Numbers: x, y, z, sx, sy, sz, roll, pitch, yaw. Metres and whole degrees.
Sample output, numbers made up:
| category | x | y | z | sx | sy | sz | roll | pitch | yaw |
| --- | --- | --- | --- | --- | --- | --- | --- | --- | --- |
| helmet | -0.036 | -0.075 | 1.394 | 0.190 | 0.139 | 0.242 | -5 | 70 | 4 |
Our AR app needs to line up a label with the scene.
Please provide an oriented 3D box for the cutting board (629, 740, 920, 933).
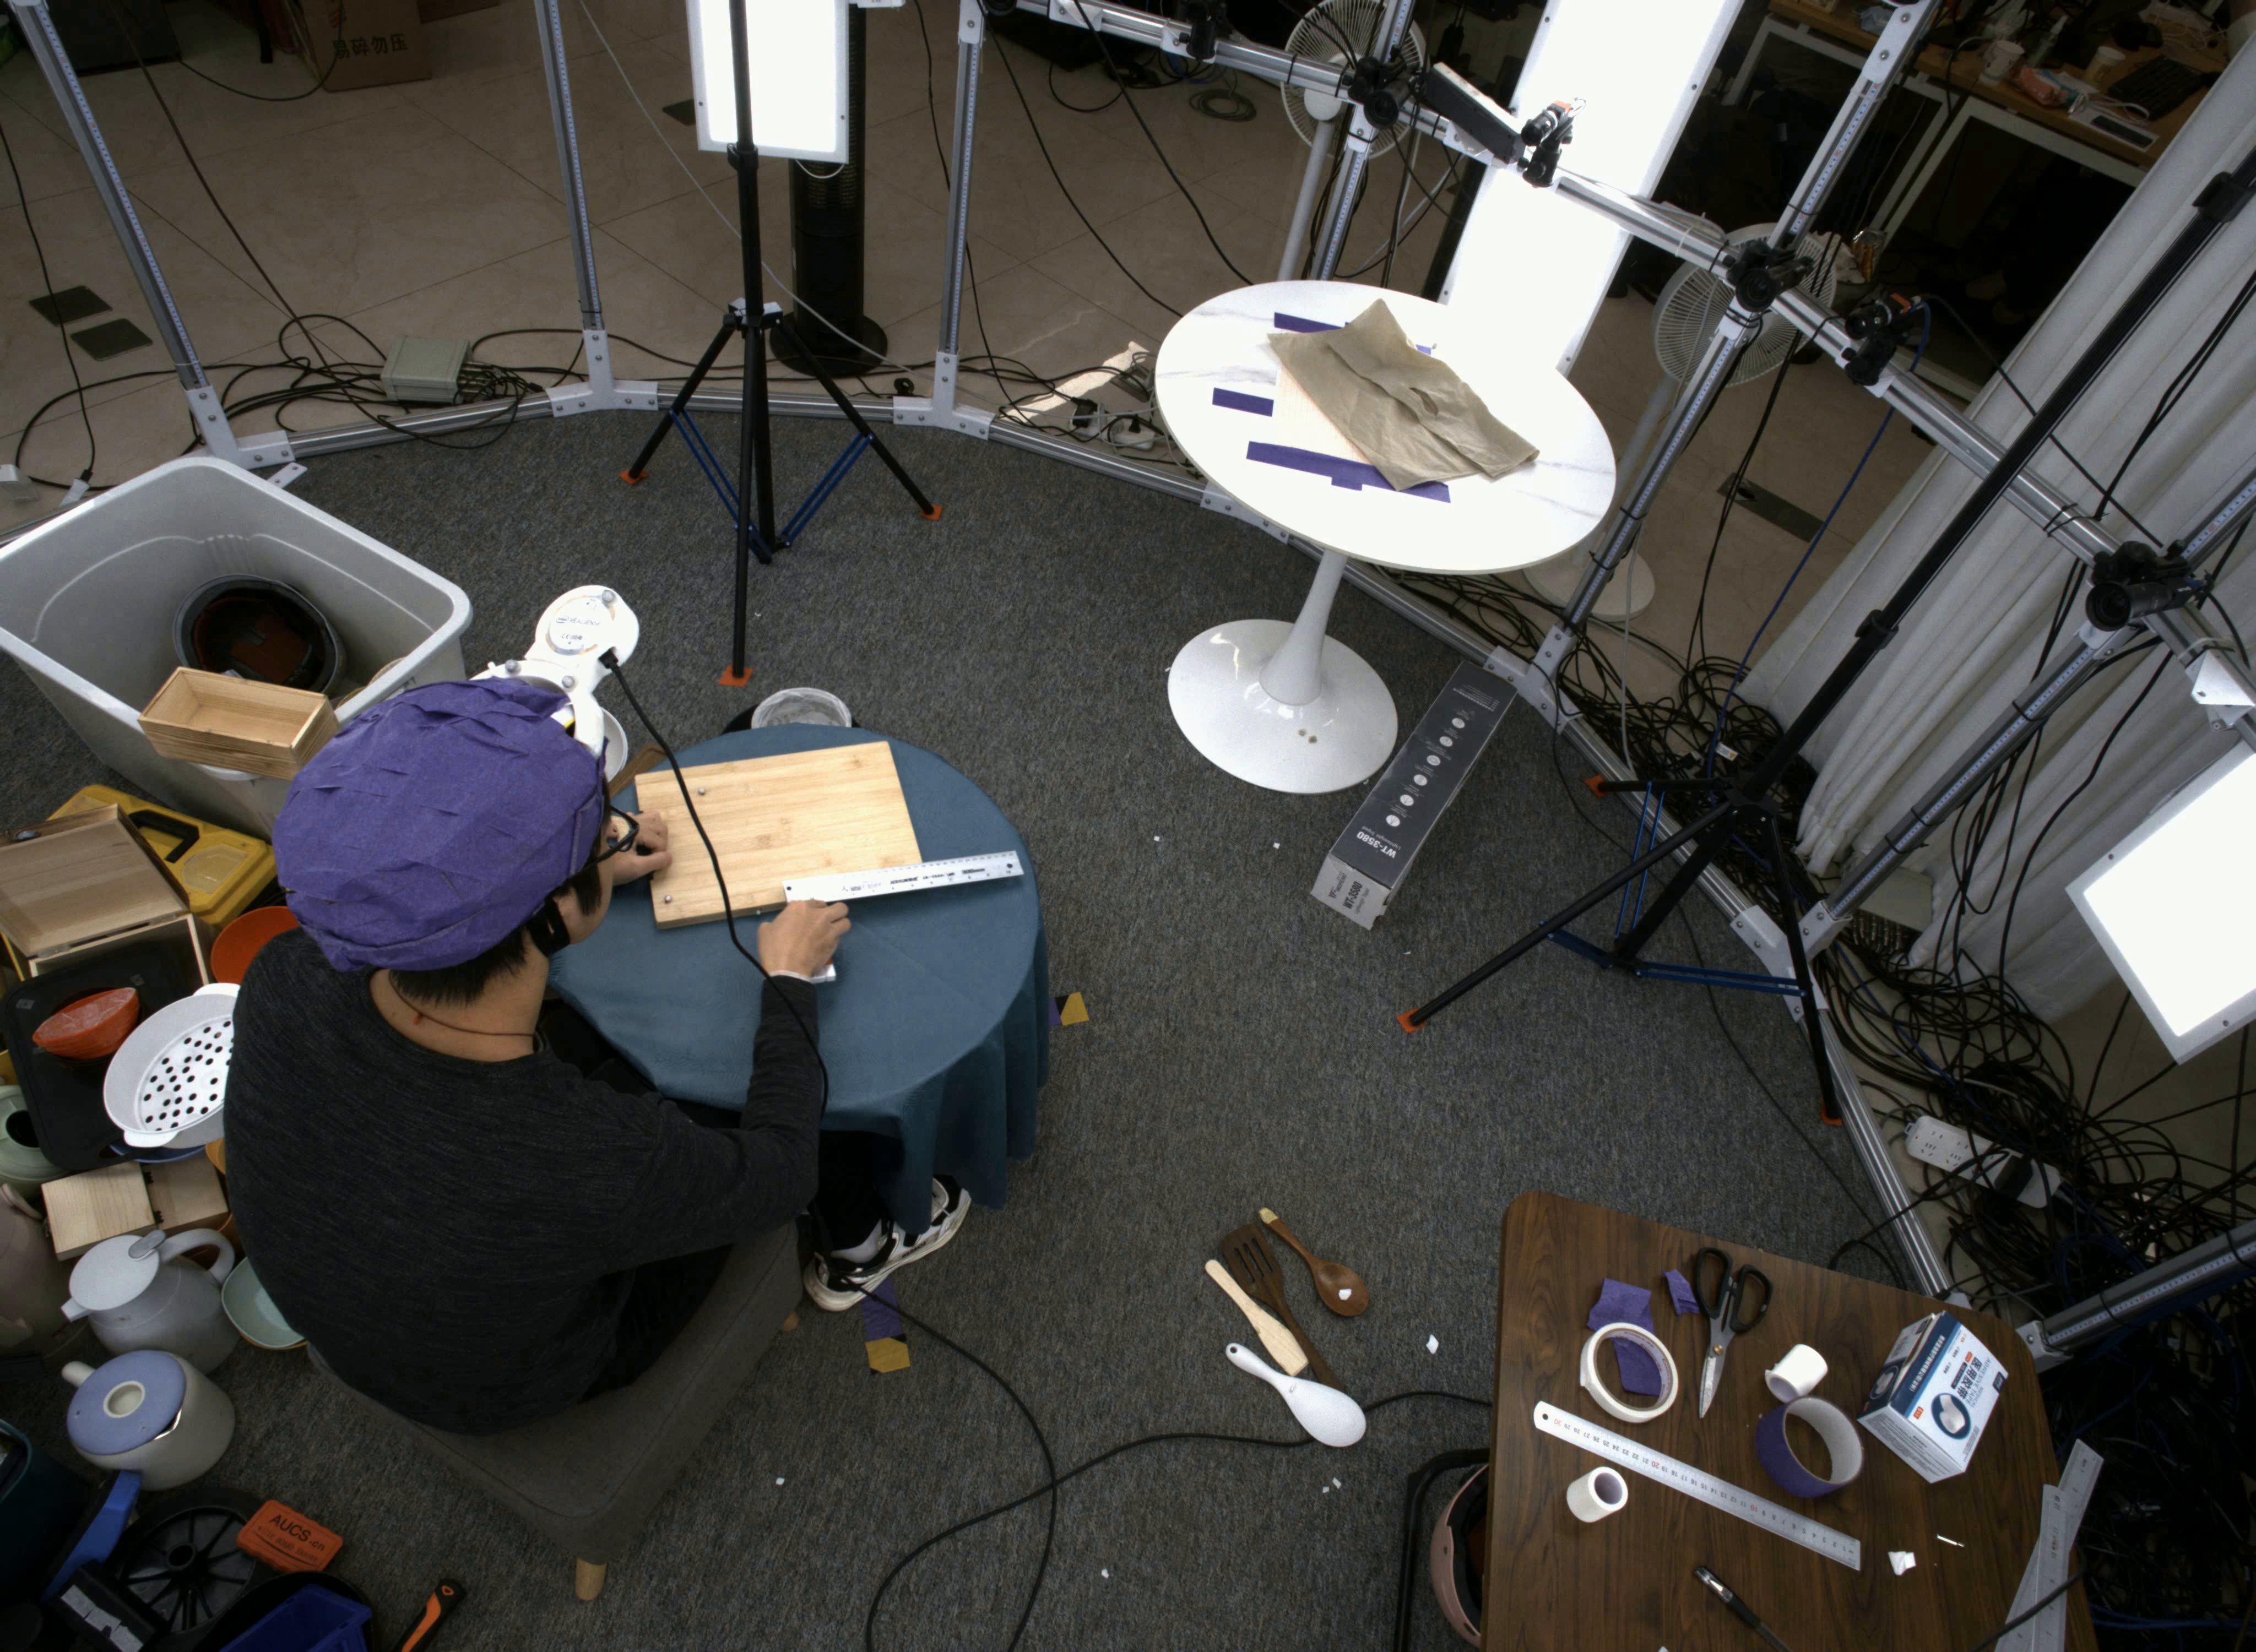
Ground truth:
| category | x | y | z | sx | sy | sz | roll | pitch | yaw |
| --- | --- | --- | --- | --- | --- | --- | --- | --- | --- |
| cutting board | -0.463 | 0.005 | 1.695 | 0.350 | 0.024 | 0.244 | -10 | 57 | -22 |

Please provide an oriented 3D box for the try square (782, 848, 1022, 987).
| category | x | y | z | sx | sy | sz | roll | pitch | yaw |
| --- | --- | --- | --- | --- | --- | --- | --- | --- | --- |
| try square | -0.268 | 0.107 | 1.639 | 0.315 | 0.016 | 0.149 | -8 | 58 | -26 |
